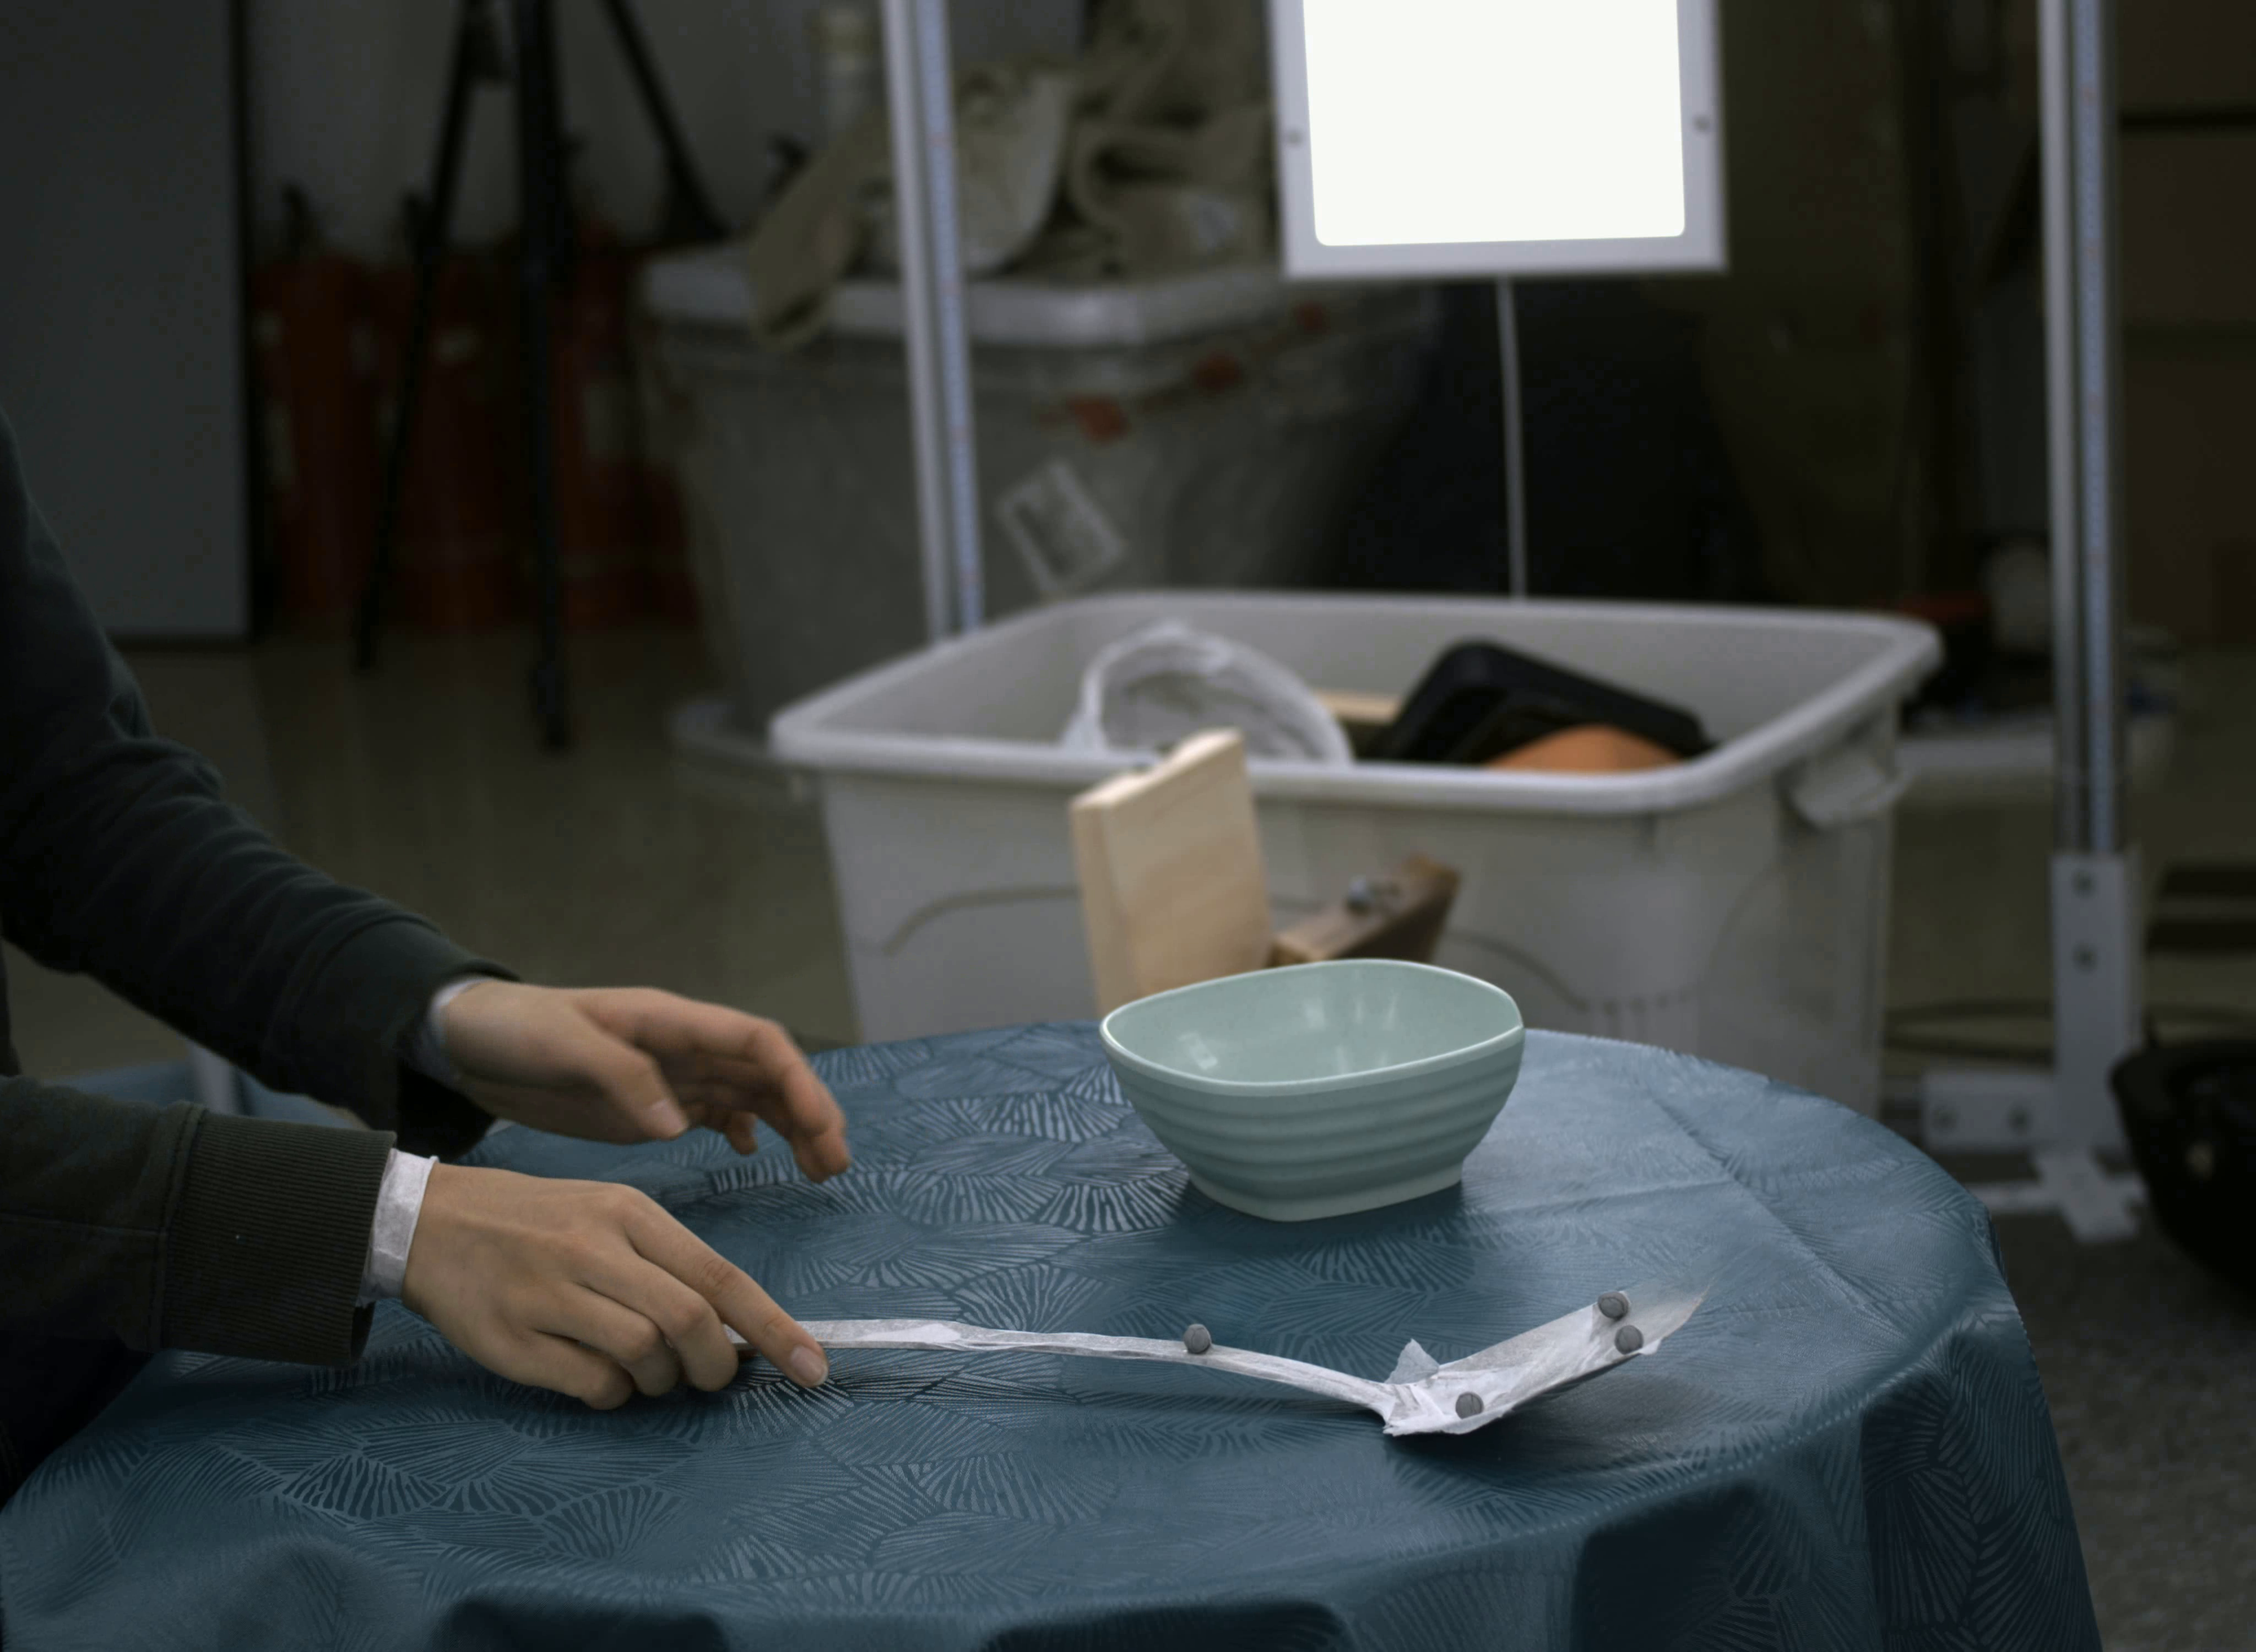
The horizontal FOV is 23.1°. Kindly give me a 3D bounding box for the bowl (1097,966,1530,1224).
[{"bbox_3d":[0.064,0.095,1.888,0.151,0.059,0.151,-2,14,-1],"label":"bowl"}]

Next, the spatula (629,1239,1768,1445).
[{"bbox_3d":[0.015,0.159,1.678,0.368,0.045,0.097,-4,-2,16],"label":"spatula"}]
